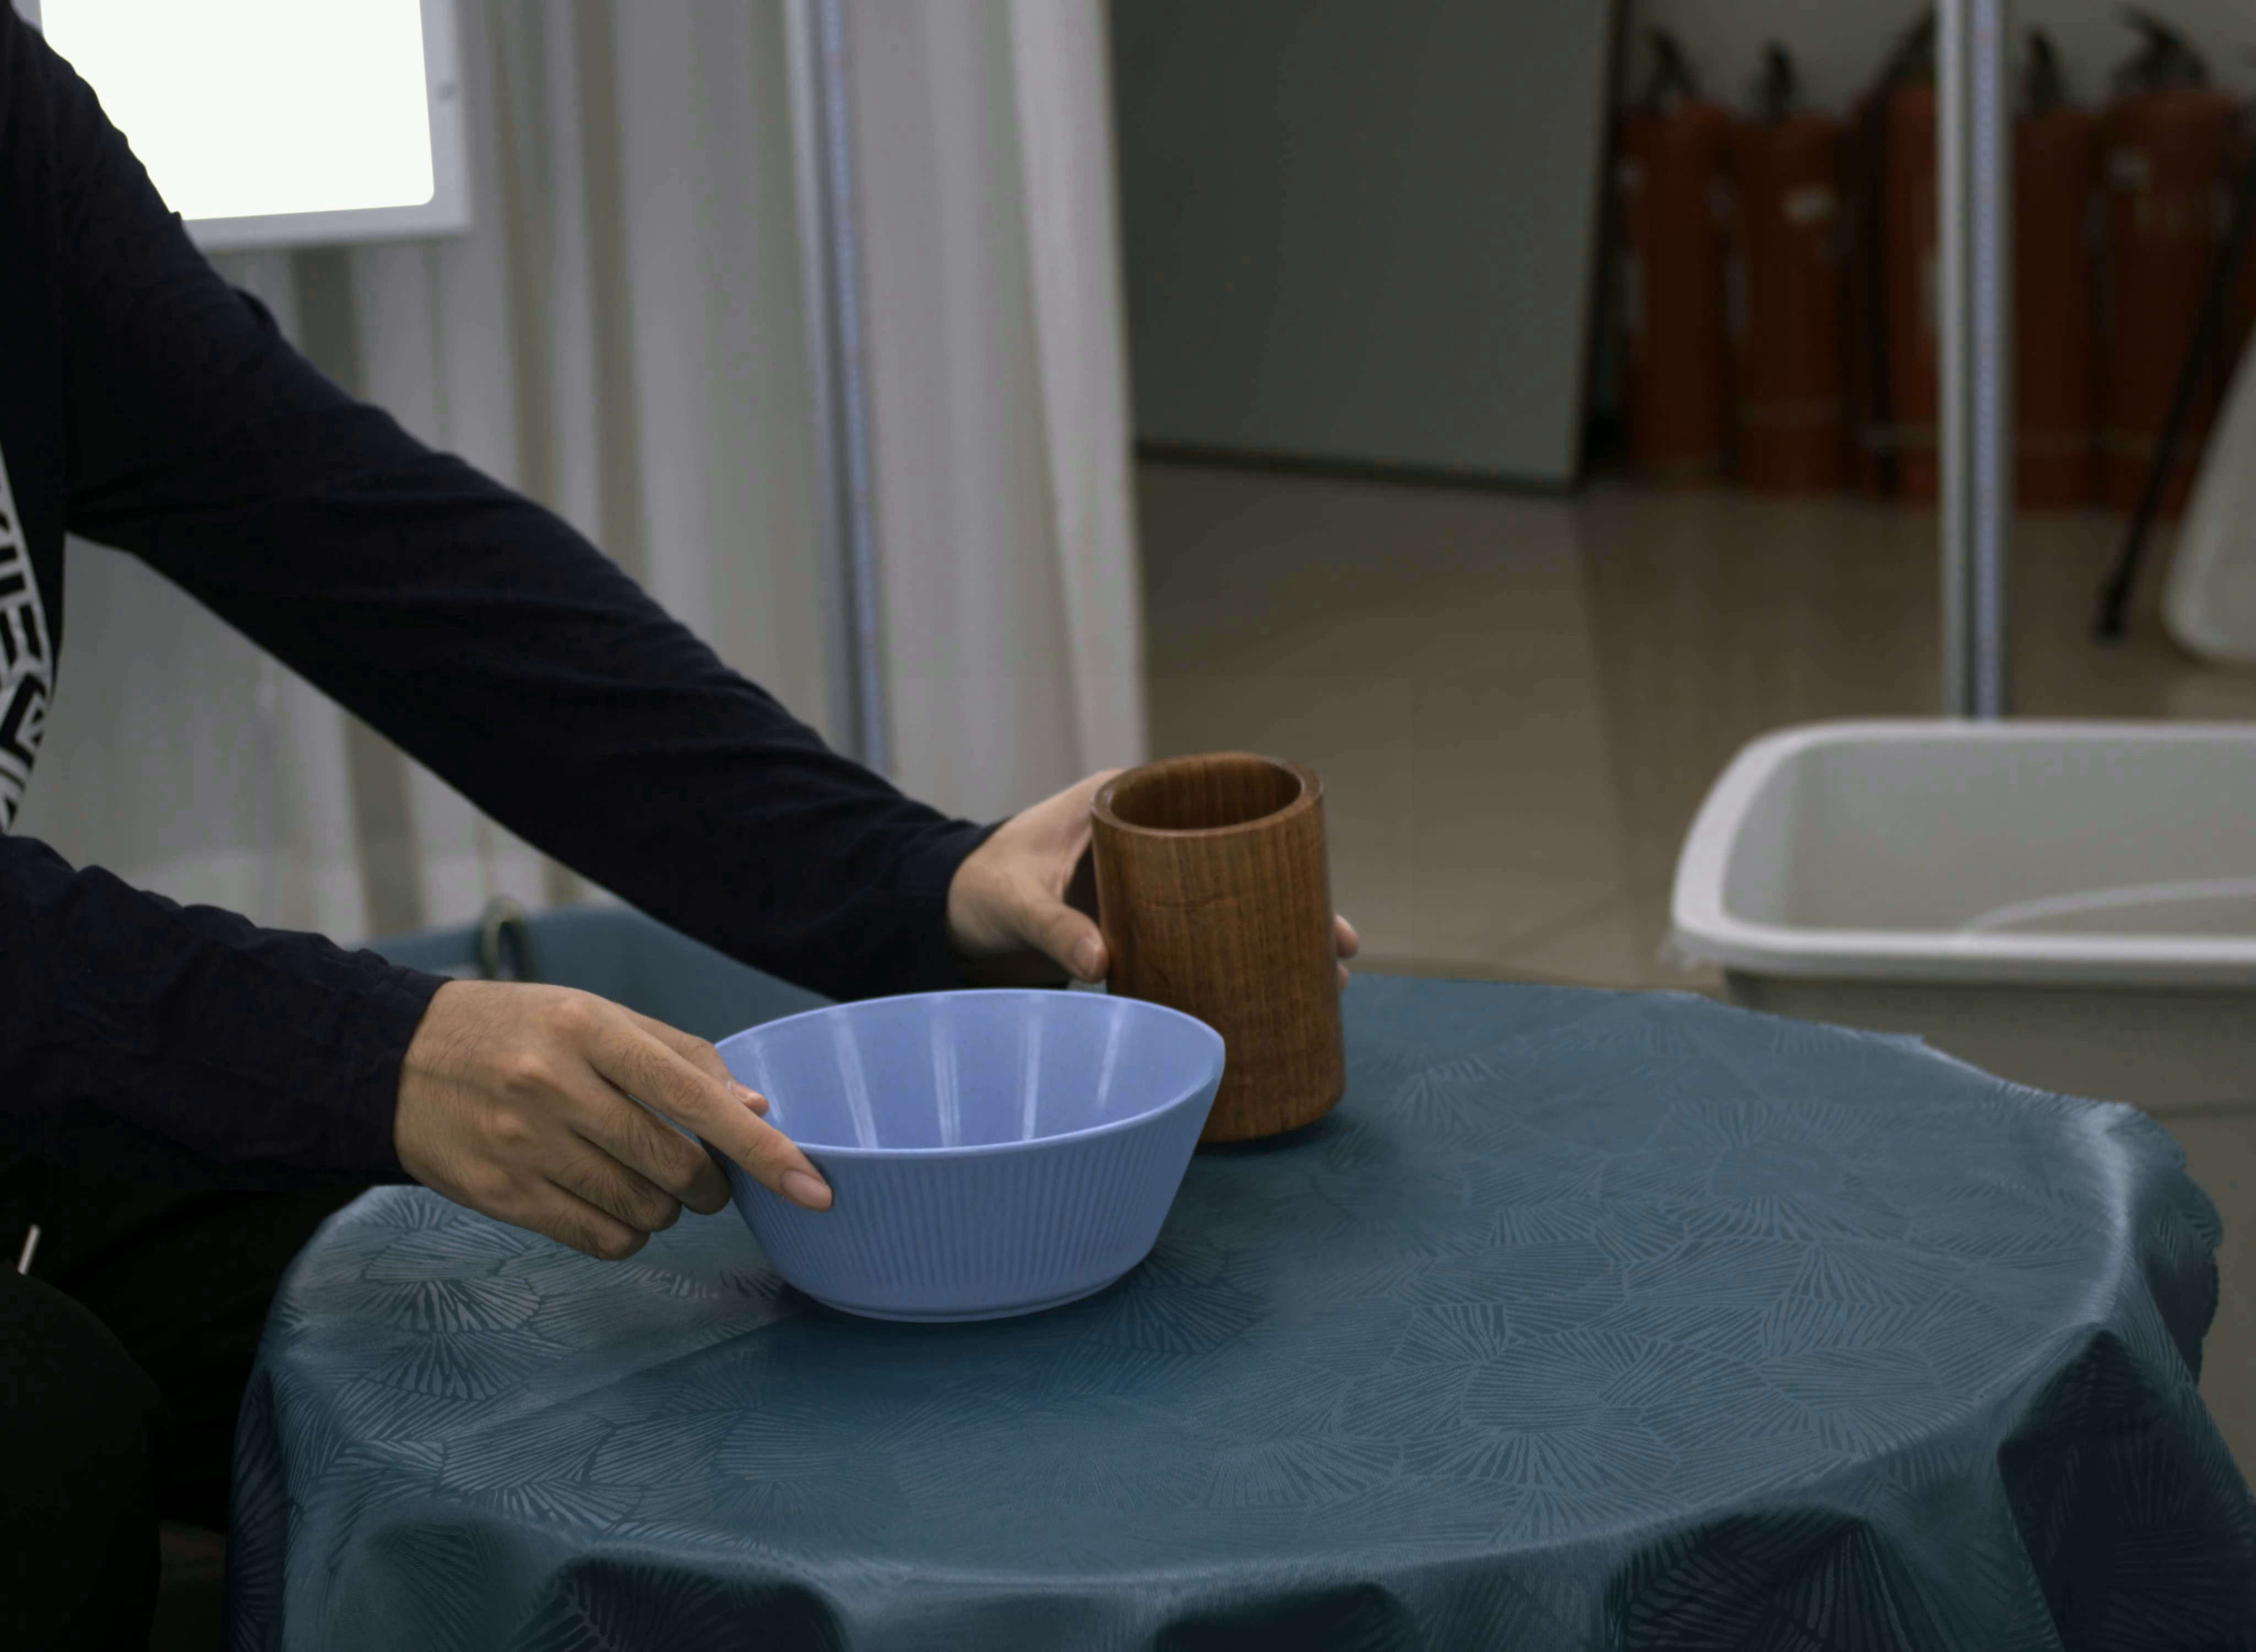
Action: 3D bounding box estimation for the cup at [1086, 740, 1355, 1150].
[{"bbox_3d":[0.032,0.040,1.813,0.086,0.119,0.088,-7,17,1],"label":"cup"}]

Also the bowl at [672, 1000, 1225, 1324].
[{"bbox_3d":[-0.054,0.108,1.700,0.174,0.071,0.176,-4,13,0],"label":"bowl"}]
